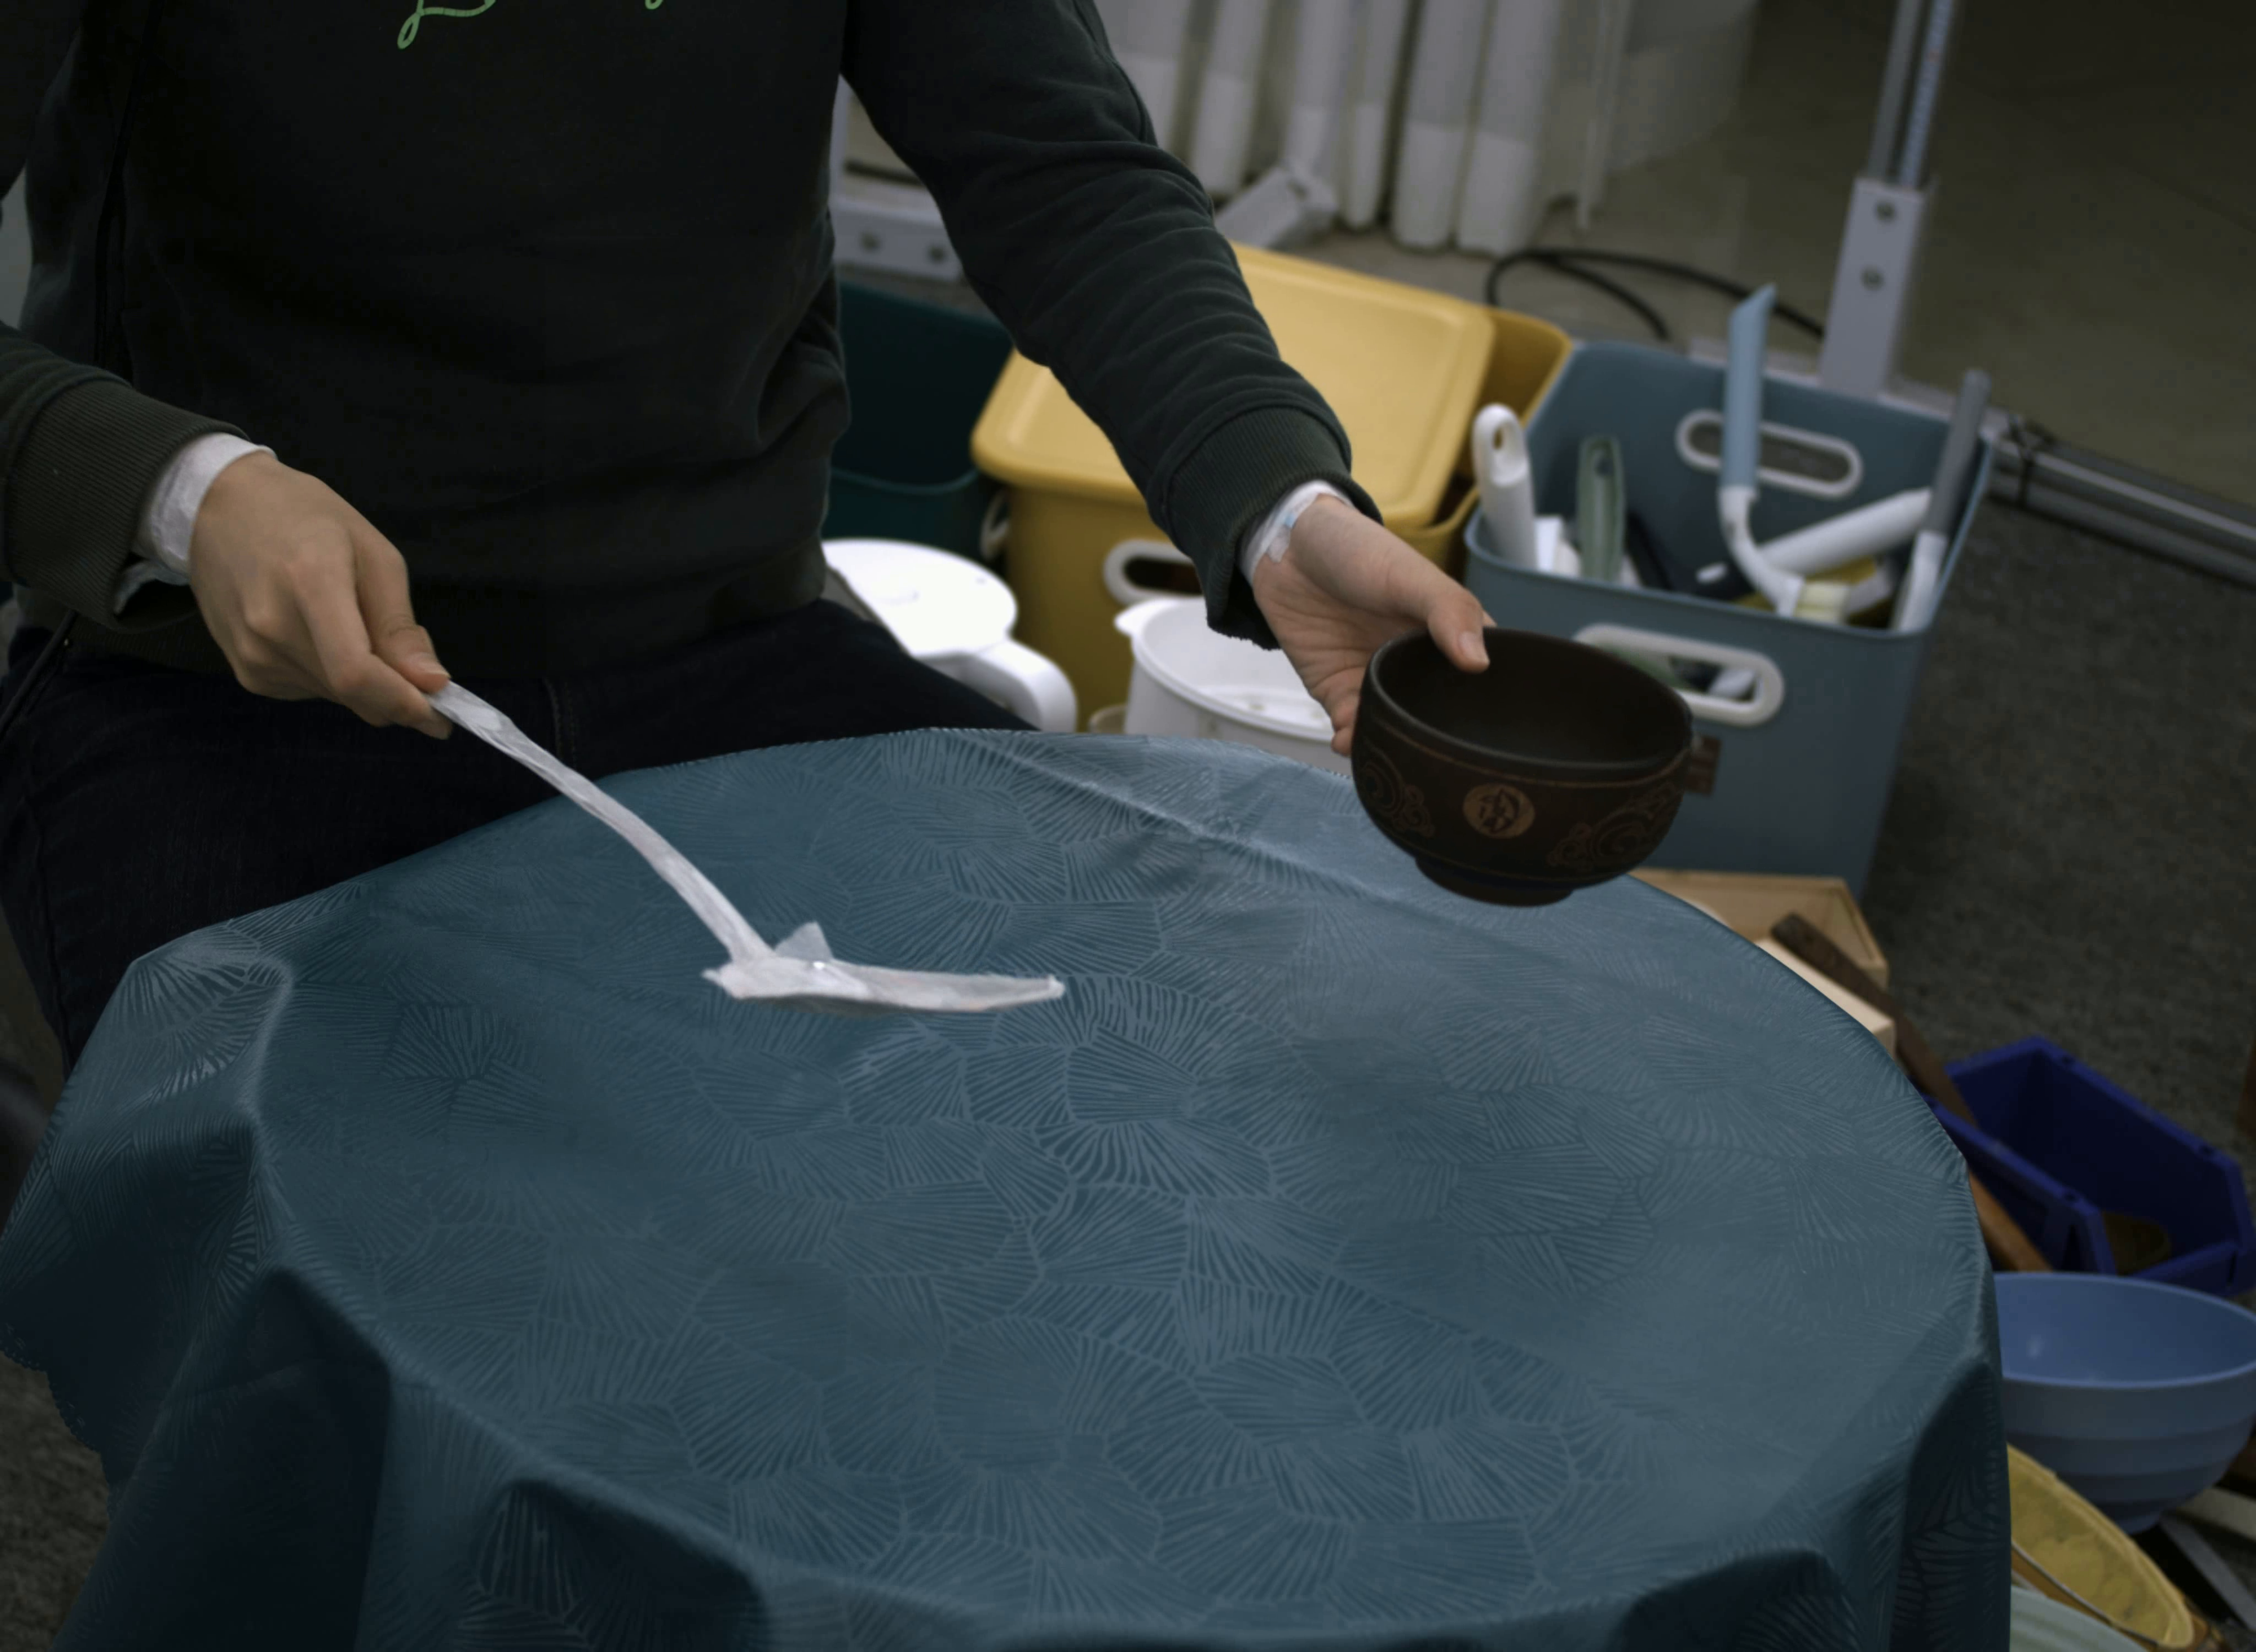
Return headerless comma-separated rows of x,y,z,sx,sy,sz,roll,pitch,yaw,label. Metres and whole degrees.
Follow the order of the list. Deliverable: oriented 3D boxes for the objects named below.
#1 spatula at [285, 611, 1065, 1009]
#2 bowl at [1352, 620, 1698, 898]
-0.169,-0.011,1.729,0.098,0.045,0.368,-3,29,-46,spatula
0.134,-0.018,1.836,0.117,0.070,0.118,8,22,-4,bowl
